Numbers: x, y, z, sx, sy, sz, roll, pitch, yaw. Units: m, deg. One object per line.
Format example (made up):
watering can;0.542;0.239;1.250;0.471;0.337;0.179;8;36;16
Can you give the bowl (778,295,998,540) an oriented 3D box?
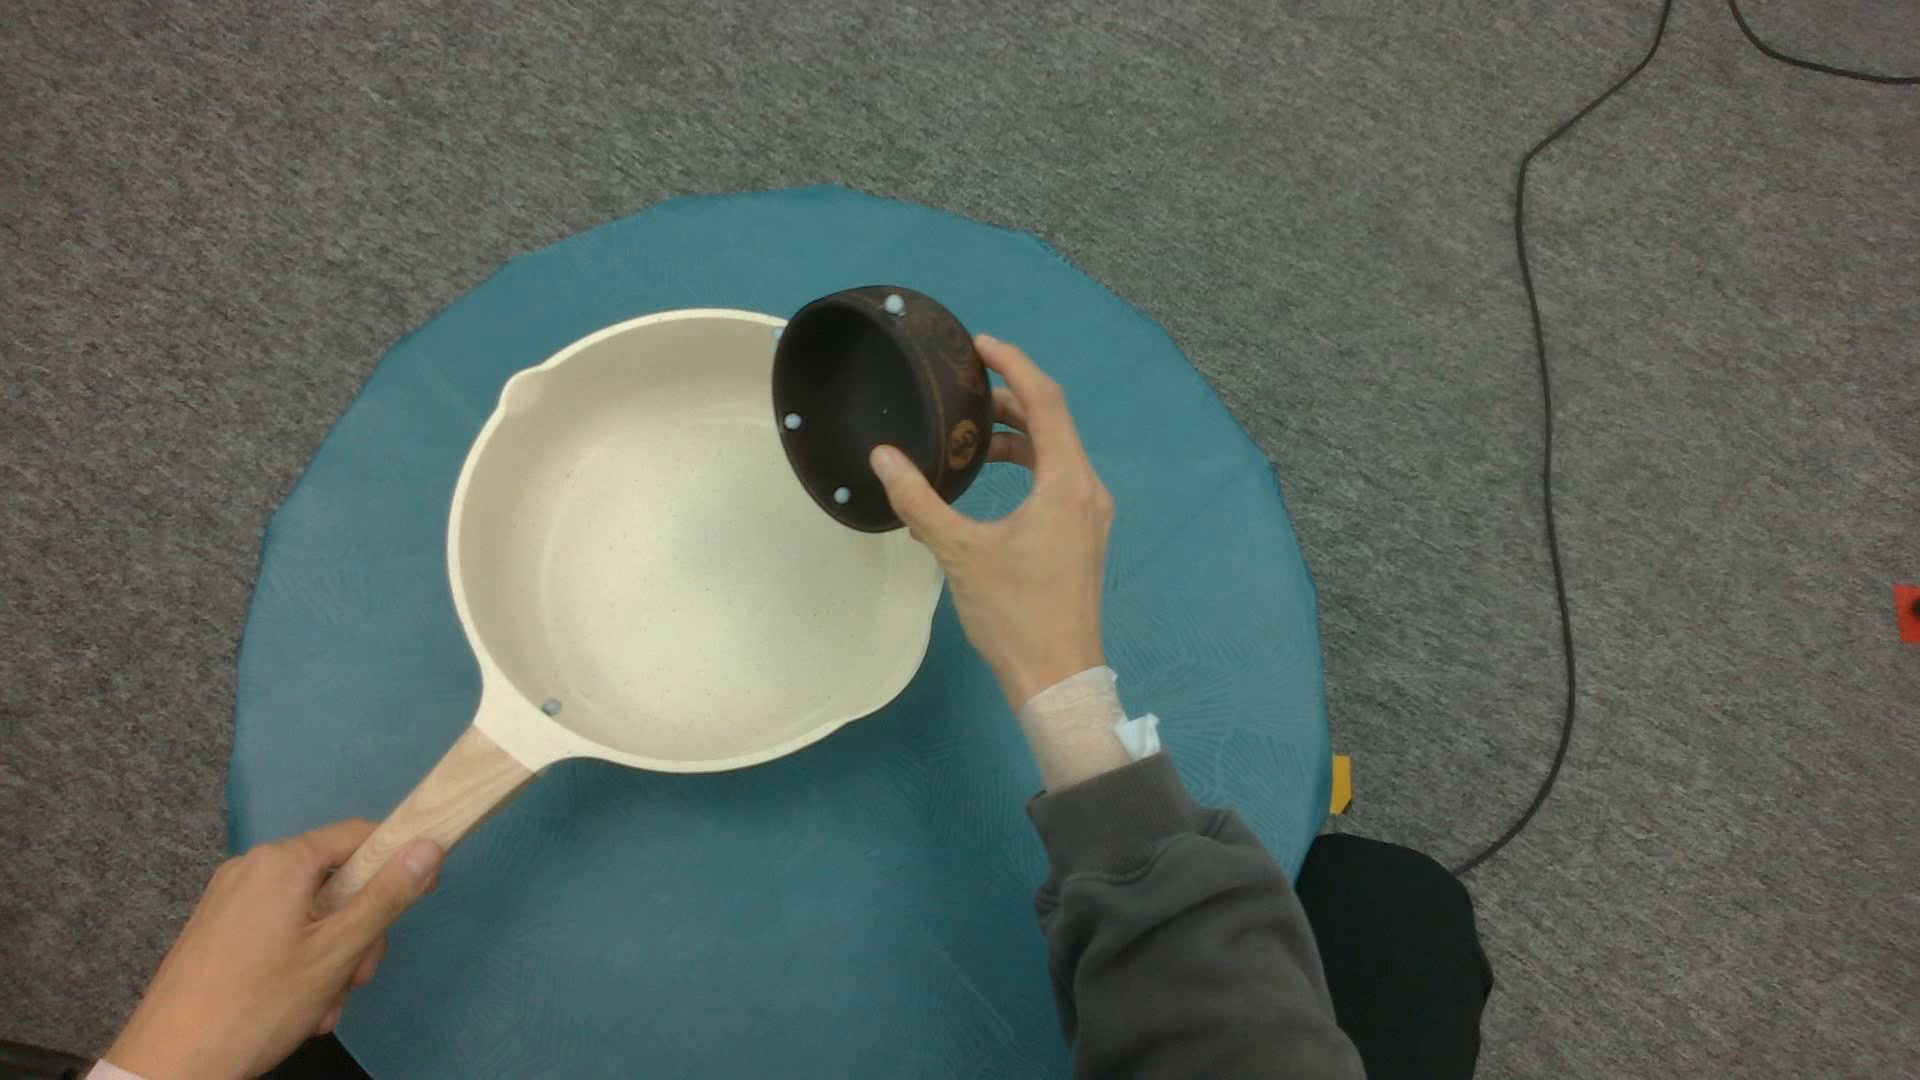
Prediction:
bowl;-0.028;-0.065;0.687;0.070;0.117;0.118;-26;72;-41

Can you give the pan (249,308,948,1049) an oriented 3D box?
pan;-0.188;0.071;0.721;0.263;0.101;0.436;36;73;7
